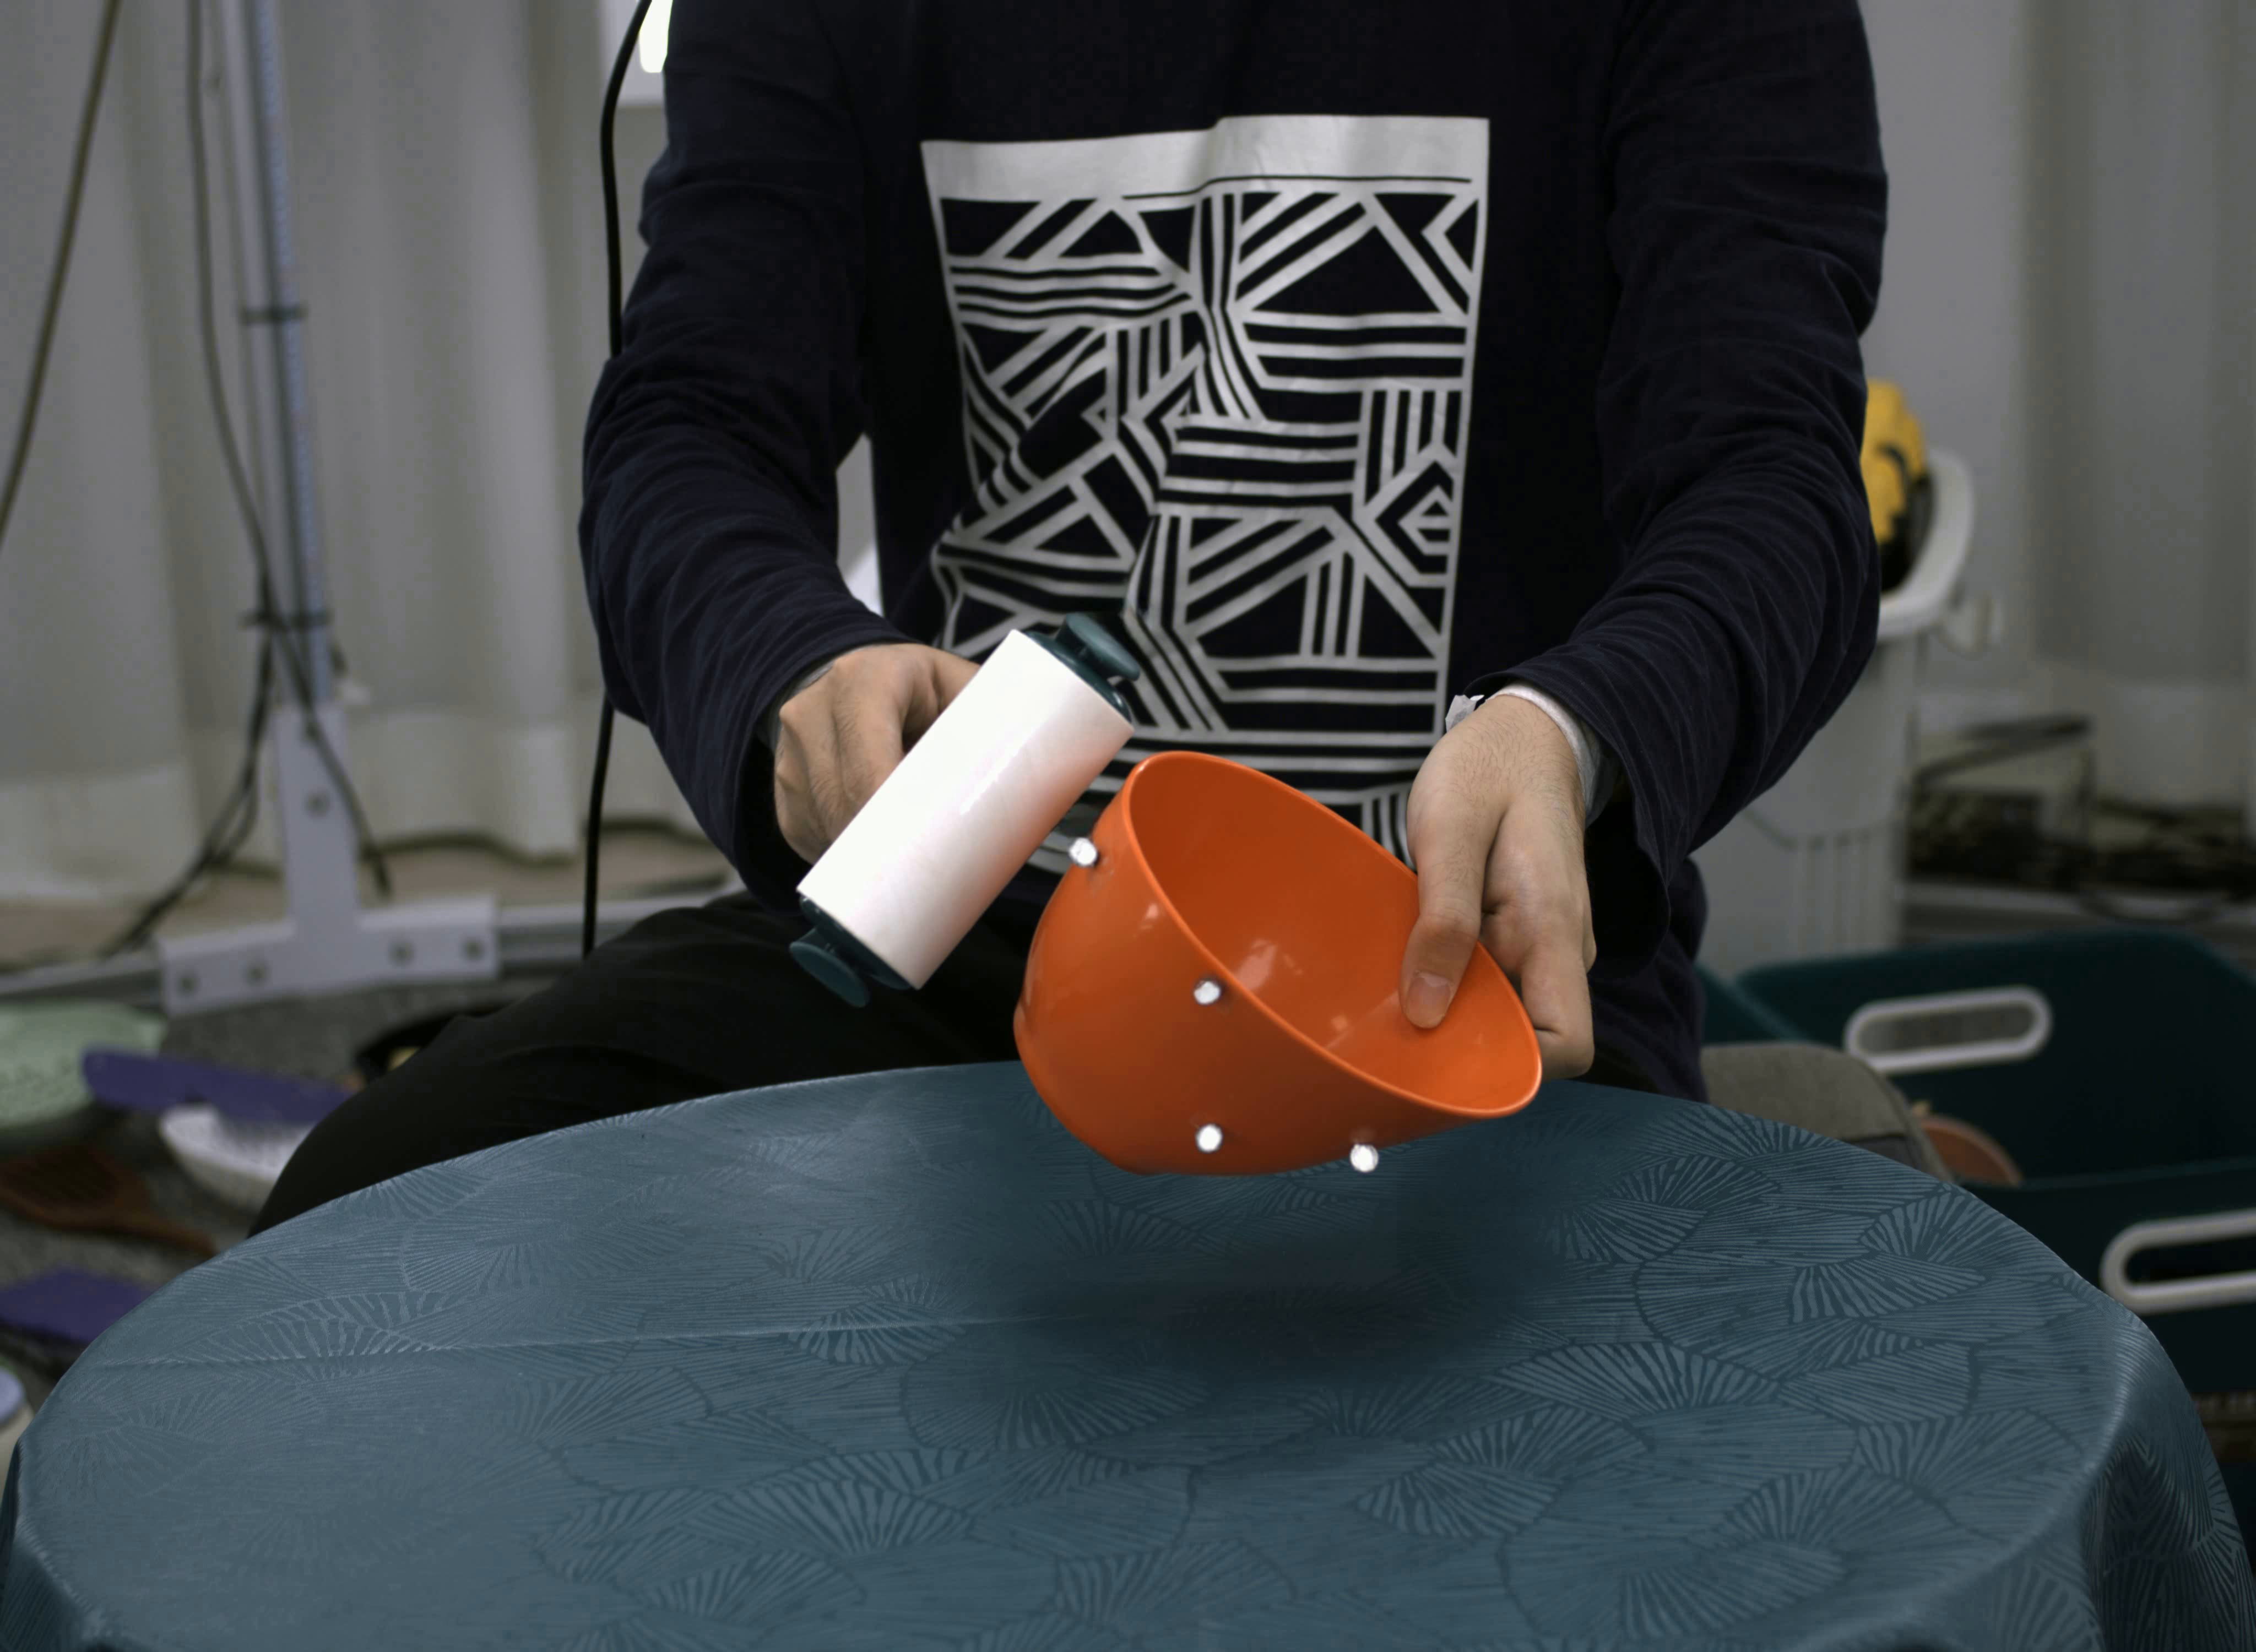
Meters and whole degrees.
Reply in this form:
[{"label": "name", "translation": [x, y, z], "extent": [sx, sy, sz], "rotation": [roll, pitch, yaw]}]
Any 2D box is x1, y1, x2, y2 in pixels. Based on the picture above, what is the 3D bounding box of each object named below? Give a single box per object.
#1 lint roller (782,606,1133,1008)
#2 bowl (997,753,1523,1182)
[{"label": "lint roller", "translation": [-0.063, -0.010, 1.660], "extent": [0.134, 0.048, 0.181], "rotation": [-50, 13, -5]}, {"label": "bowl", "translation": [0.027, 0.056, 1.585], "extent": [0.104, 0.148, 0.148], "rotation": [-41, -1, 23]}]
